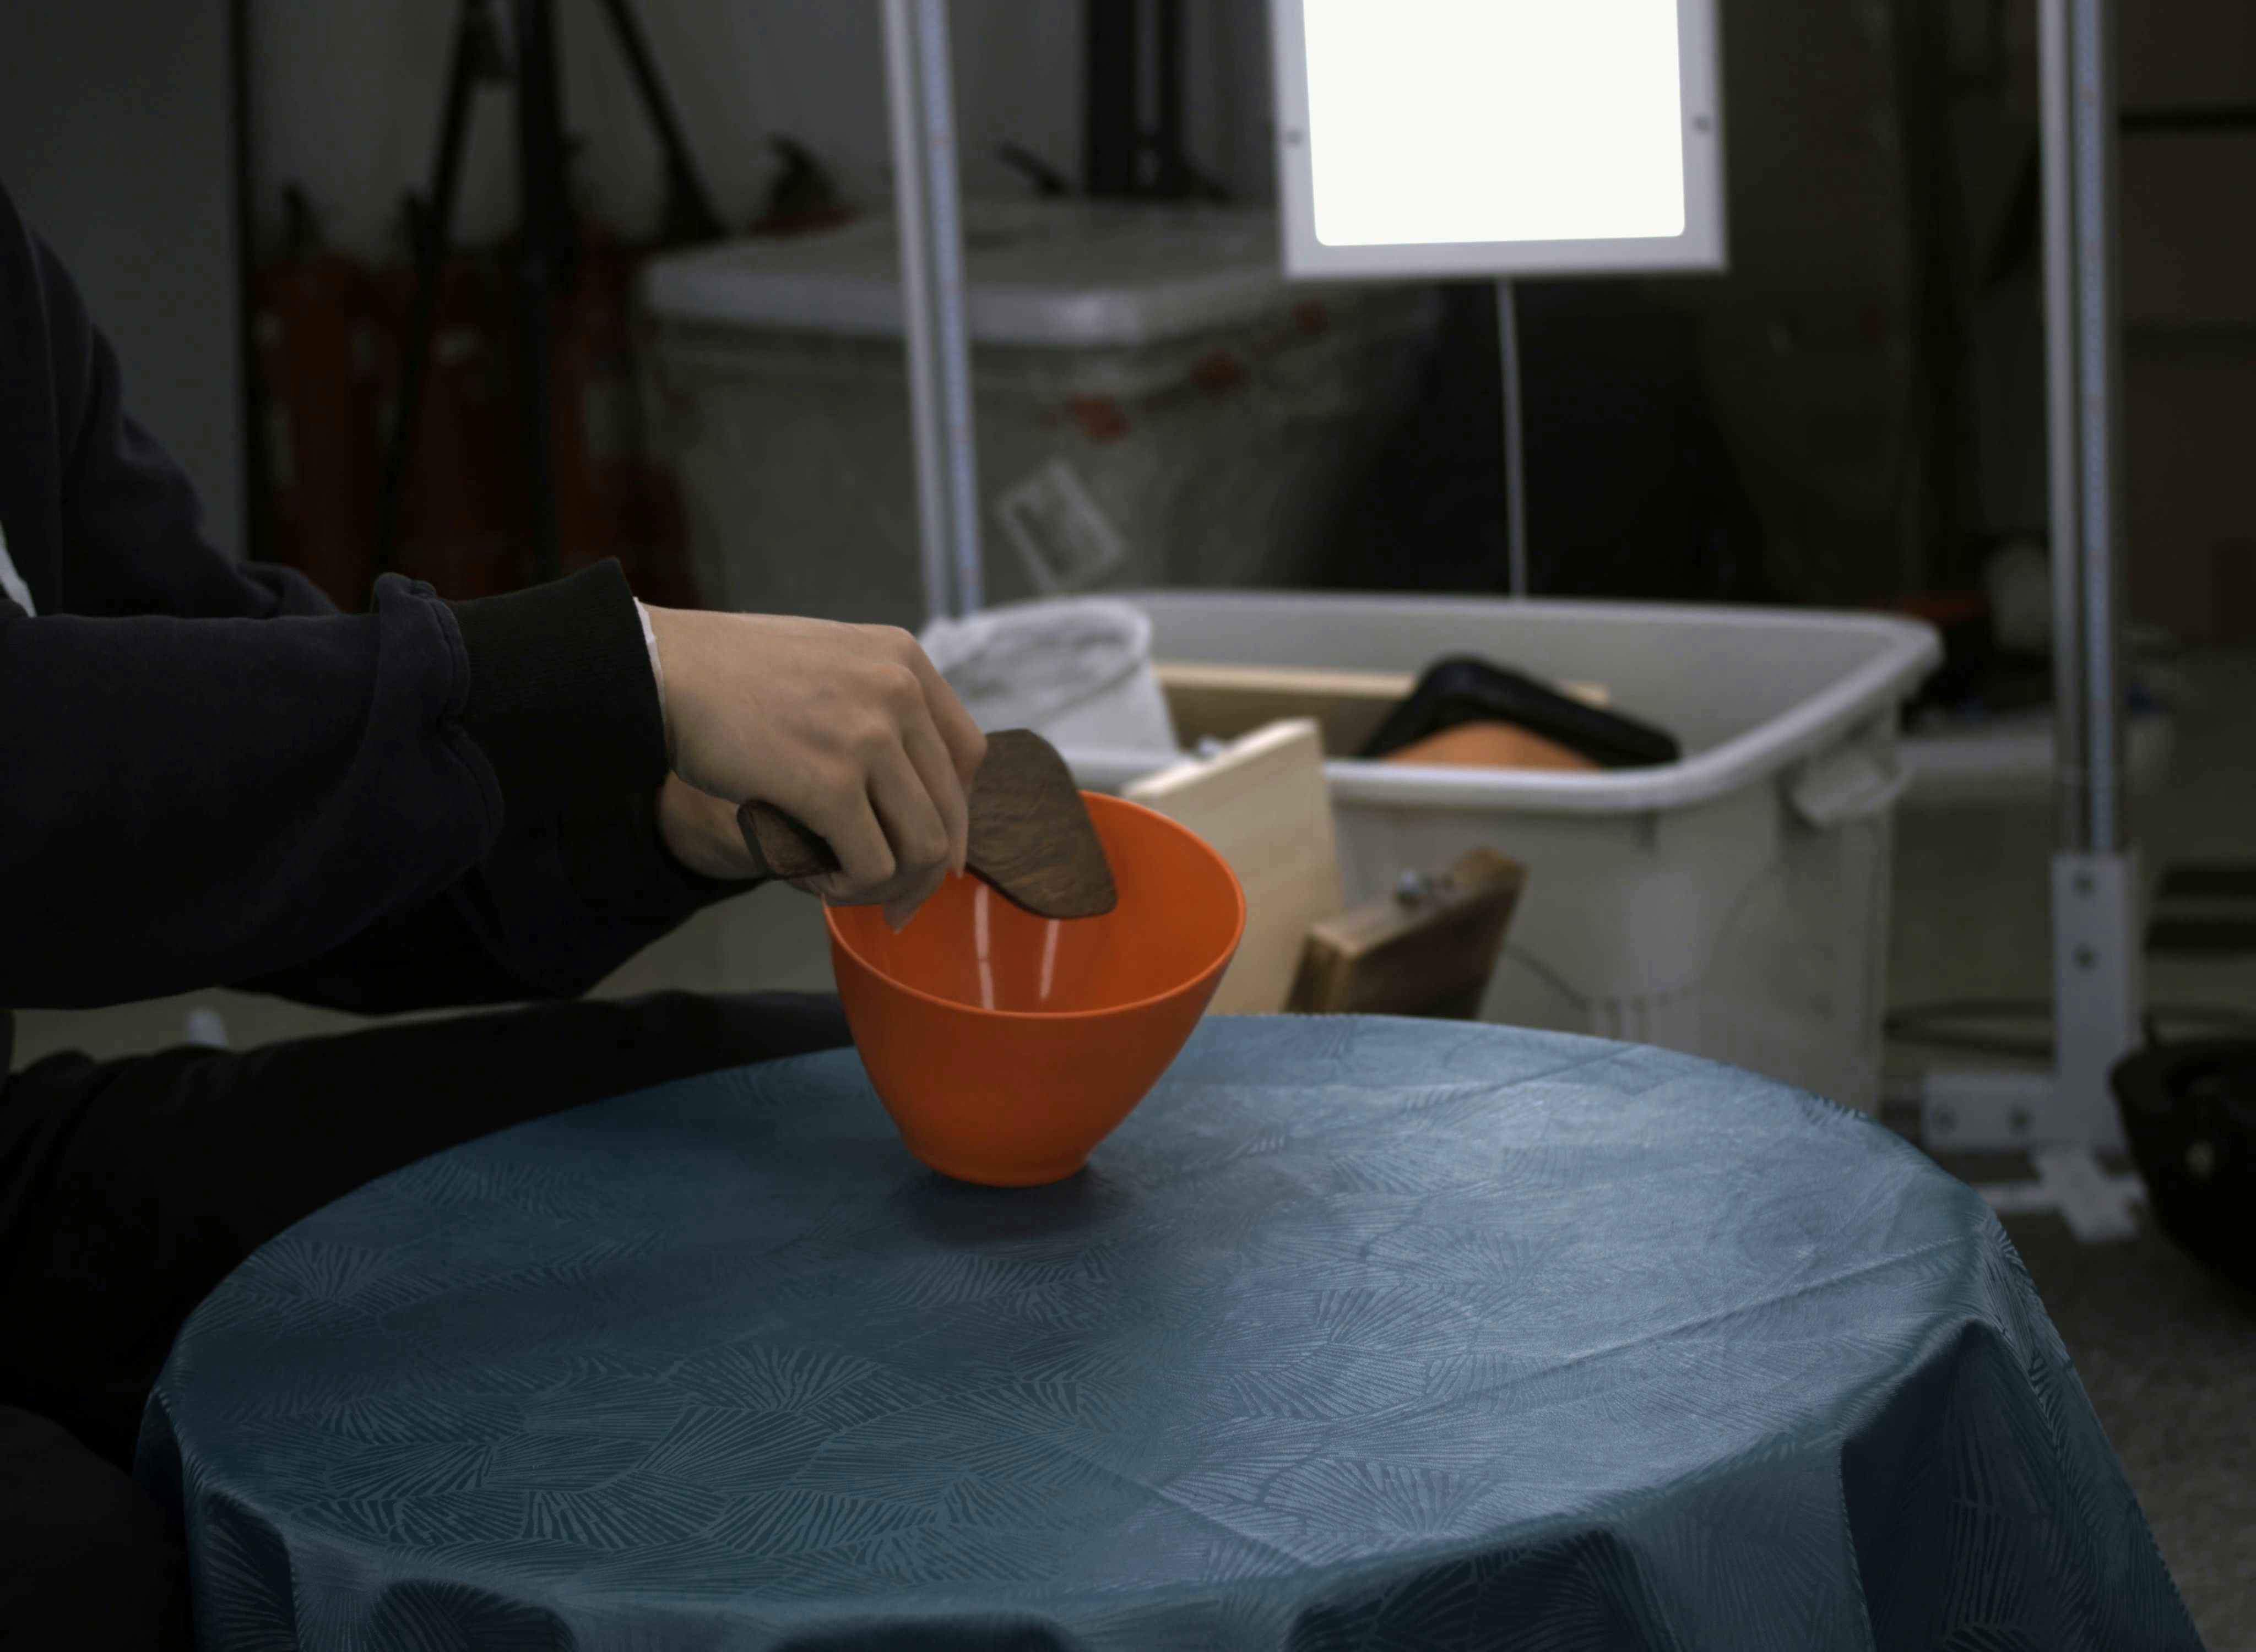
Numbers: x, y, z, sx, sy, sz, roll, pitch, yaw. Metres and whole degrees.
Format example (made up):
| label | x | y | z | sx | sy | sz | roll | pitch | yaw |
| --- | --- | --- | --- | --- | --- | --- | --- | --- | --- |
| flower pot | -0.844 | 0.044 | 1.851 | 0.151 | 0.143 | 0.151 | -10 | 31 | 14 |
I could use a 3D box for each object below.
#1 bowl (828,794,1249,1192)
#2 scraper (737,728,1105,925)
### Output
| label | x | y | z | sx | sy | sz | roll | pitch | yaw |
| --- | --- | --- | --- | --- | --- | --- | --- | --- | --- |
| bowl | -0.036 | 0.063 | 1.927 | 0.147 | 0.105 | 0.147 | 6 | 22 | -4 |
| scraper | -0.071 | 0.001 | 1.864 | 0.011 | 0.076 | 0.206 | -27 | -13 | 27 |
